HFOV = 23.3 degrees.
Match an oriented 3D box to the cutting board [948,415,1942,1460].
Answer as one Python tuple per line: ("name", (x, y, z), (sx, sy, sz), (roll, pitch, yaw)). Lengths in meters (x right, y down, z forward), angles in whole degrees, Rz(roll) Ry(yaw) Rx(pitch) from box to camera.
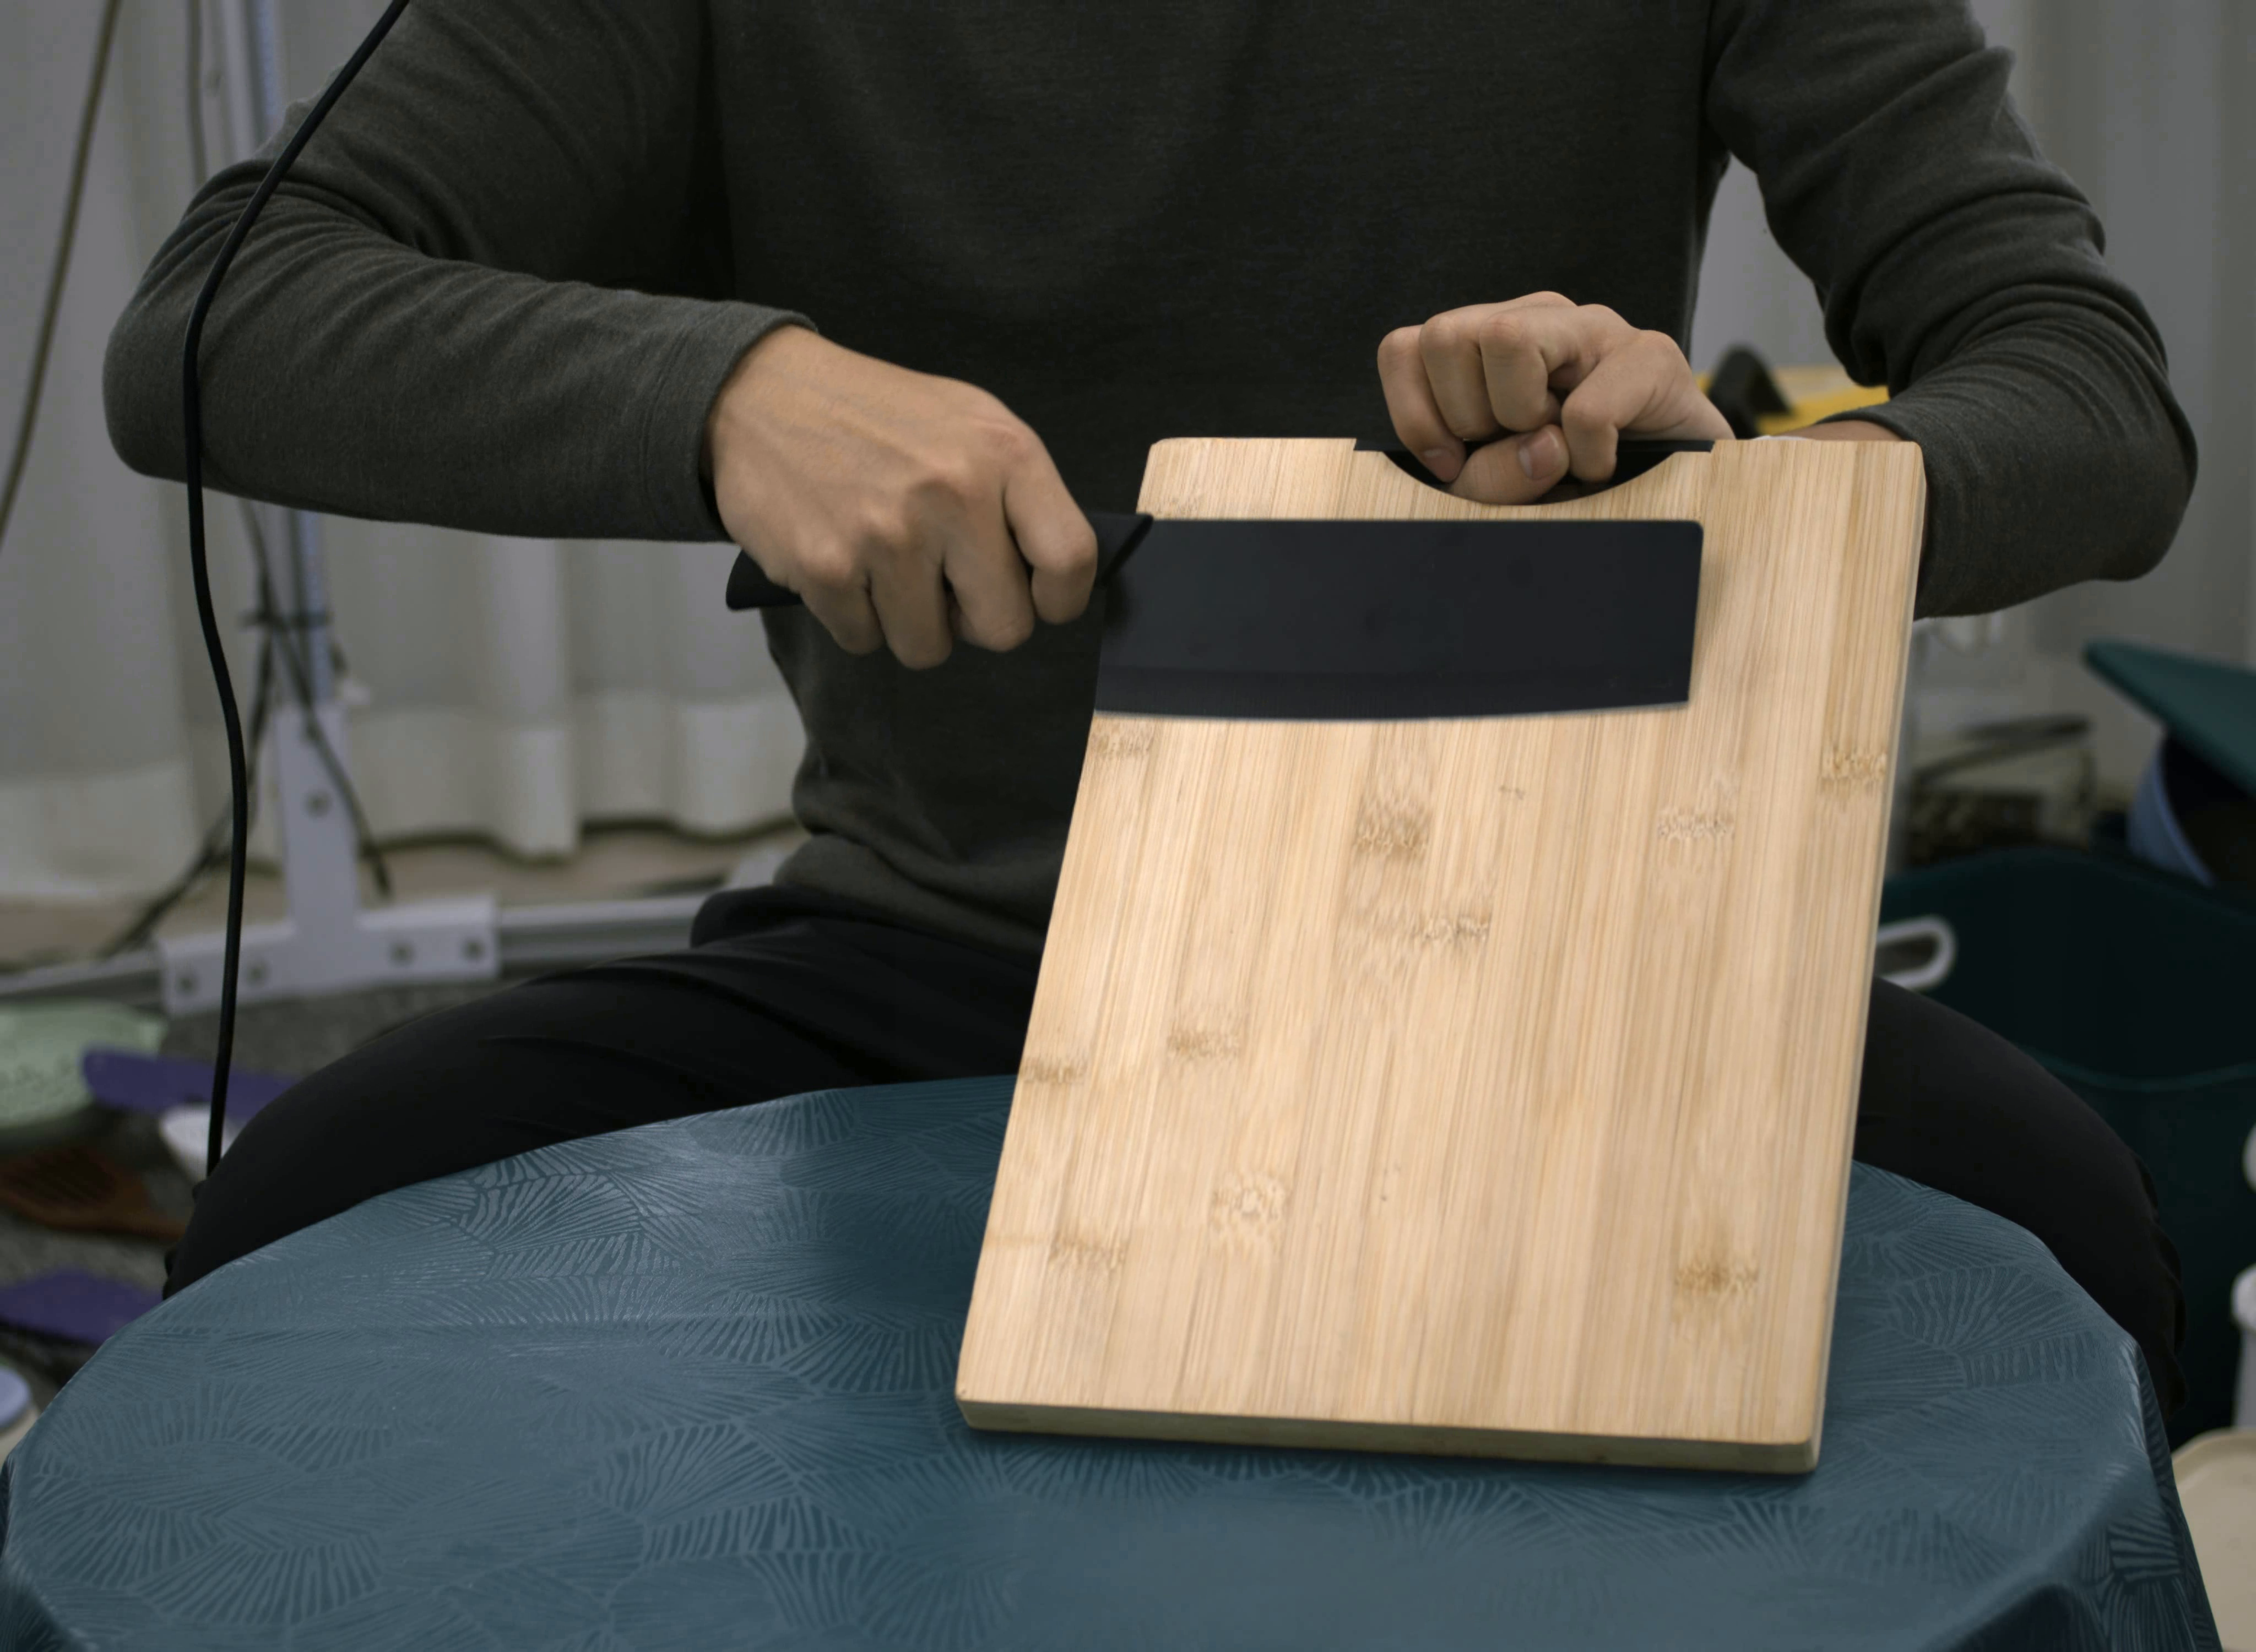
("cutting board", (0.097, 0.023, 1.584), (0.250, 0.023, 0.353), (1, 55, 15))

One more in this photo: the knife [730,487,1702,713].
("knife", (0.024, -0.070, 1.650), (0.302, 0.082, 0.020), (5, -24, 17))
